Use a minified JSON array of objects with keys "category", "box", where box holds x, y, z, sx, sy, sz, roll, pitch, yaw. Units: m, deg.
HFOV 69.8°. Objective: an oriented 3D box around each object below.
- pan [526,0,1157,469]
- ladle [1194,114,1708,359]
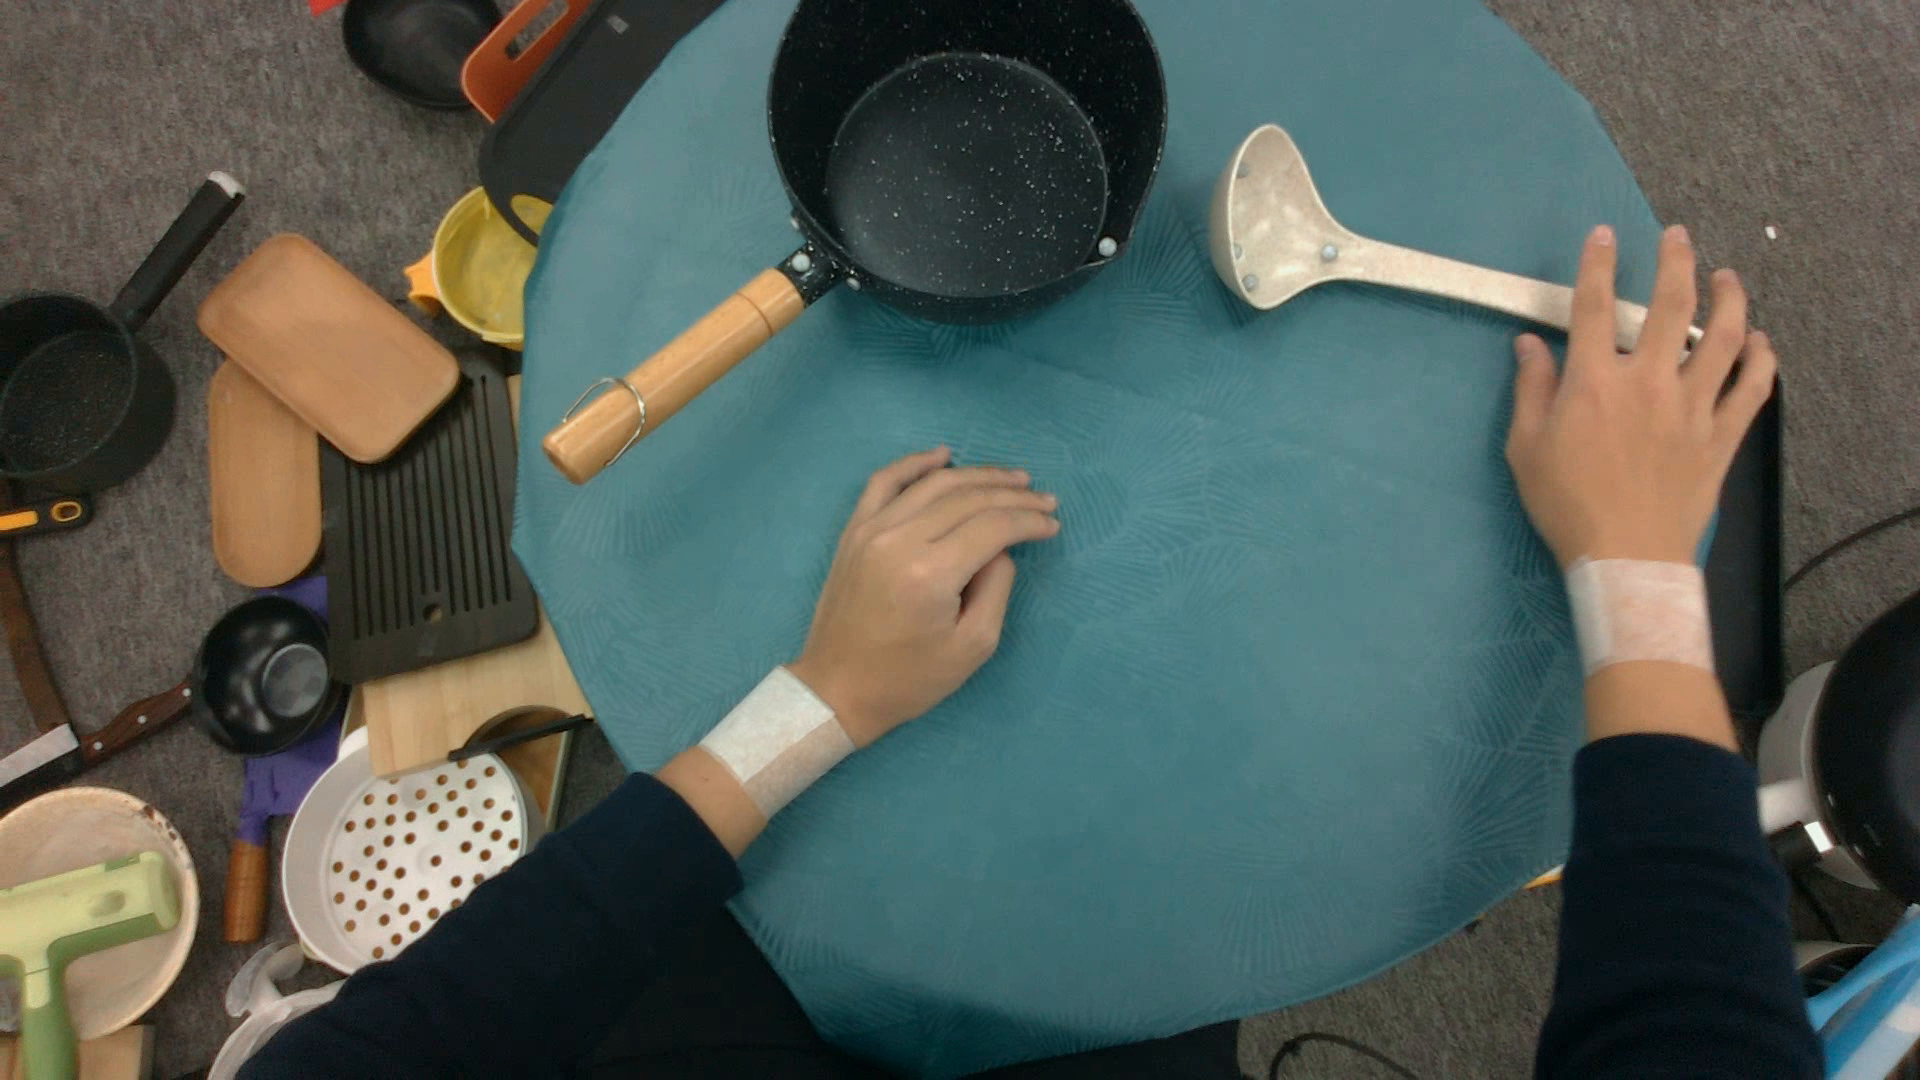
[{"category":"pan","box":[-0.057,-0.144,0.651,0.207,0.108,0.343,44,80,6]},{"category":"ladle","box":[0.250,-0.139,0.675,0.275,0.069,0.089,13,72,1]}]
